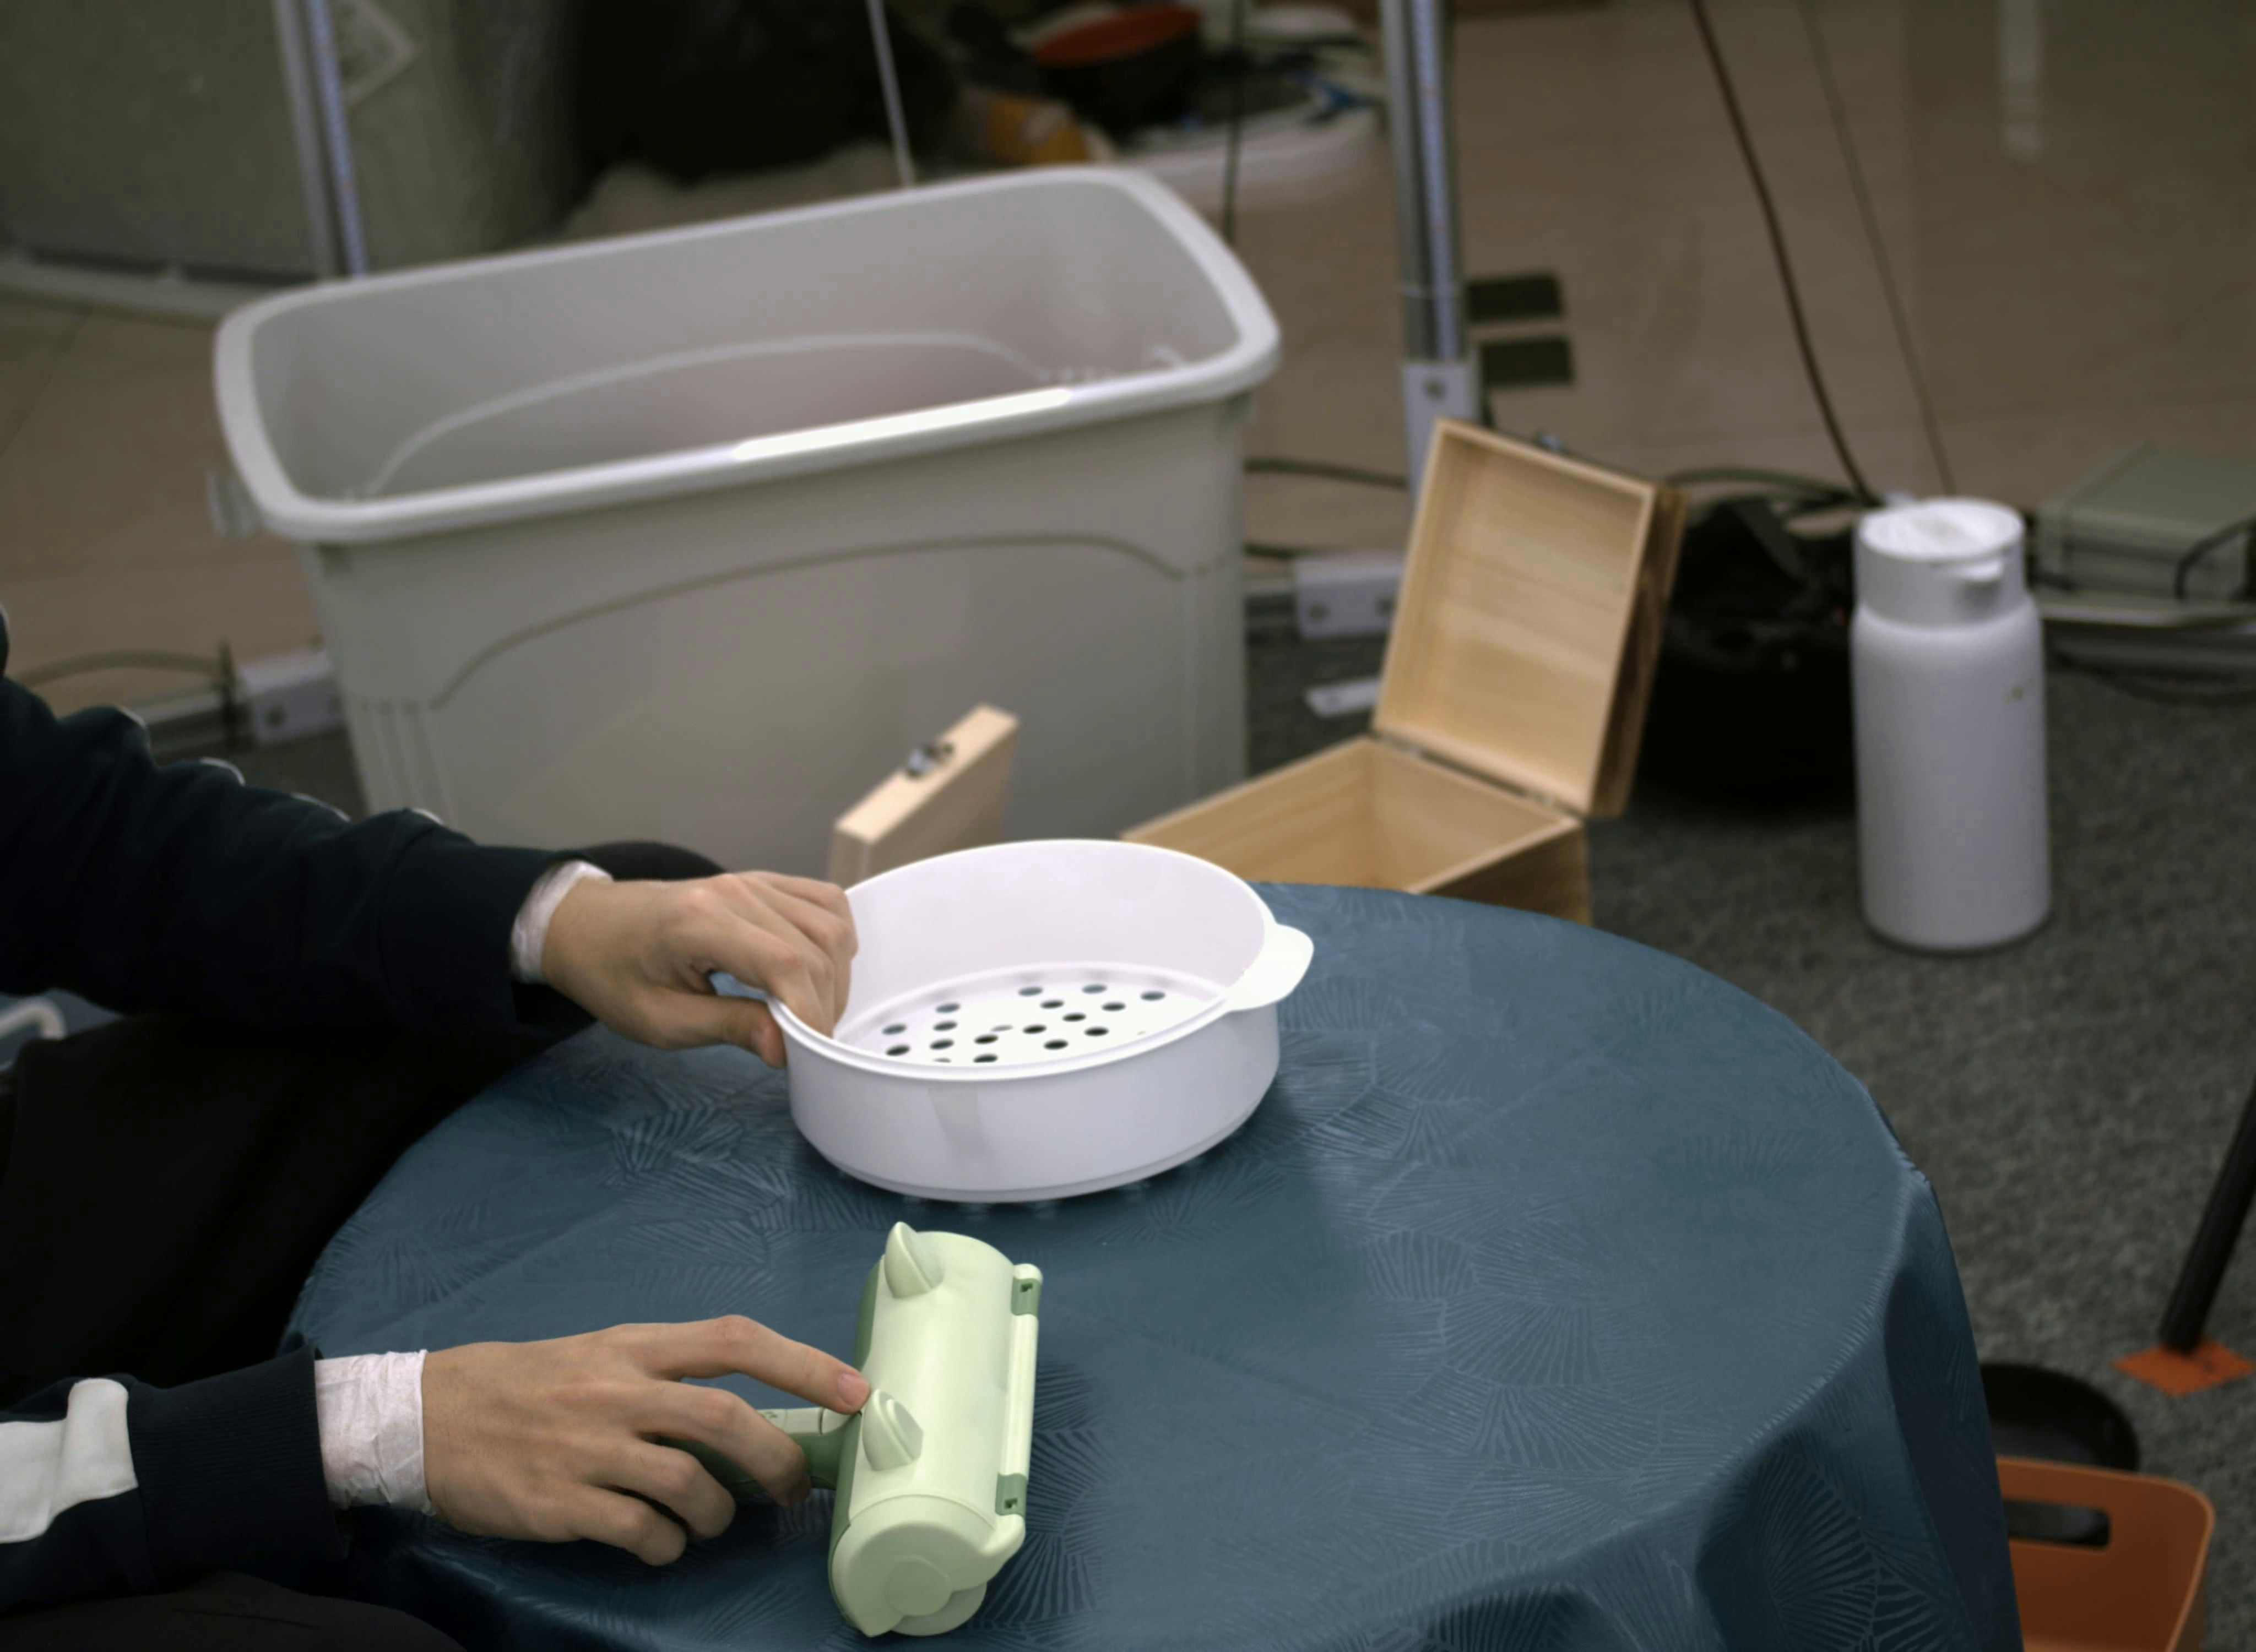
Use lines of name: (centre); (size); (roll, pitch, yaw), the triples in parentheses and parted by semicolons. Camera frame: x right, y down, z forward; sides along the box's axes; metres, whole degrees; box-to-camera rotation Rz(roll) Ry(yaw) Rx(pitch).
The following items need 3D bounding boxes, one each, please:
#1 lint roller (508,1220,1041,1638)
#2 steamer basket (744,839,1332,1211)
lint roller: (-0.125, 0.201, 1.950); (0.183, 0.083, 0.195); (-1, 25, 2)
steamer basket: (-0.034, 0.077, 2.204); (0.230, 0.070, 0.199); (3, 27, 15)
